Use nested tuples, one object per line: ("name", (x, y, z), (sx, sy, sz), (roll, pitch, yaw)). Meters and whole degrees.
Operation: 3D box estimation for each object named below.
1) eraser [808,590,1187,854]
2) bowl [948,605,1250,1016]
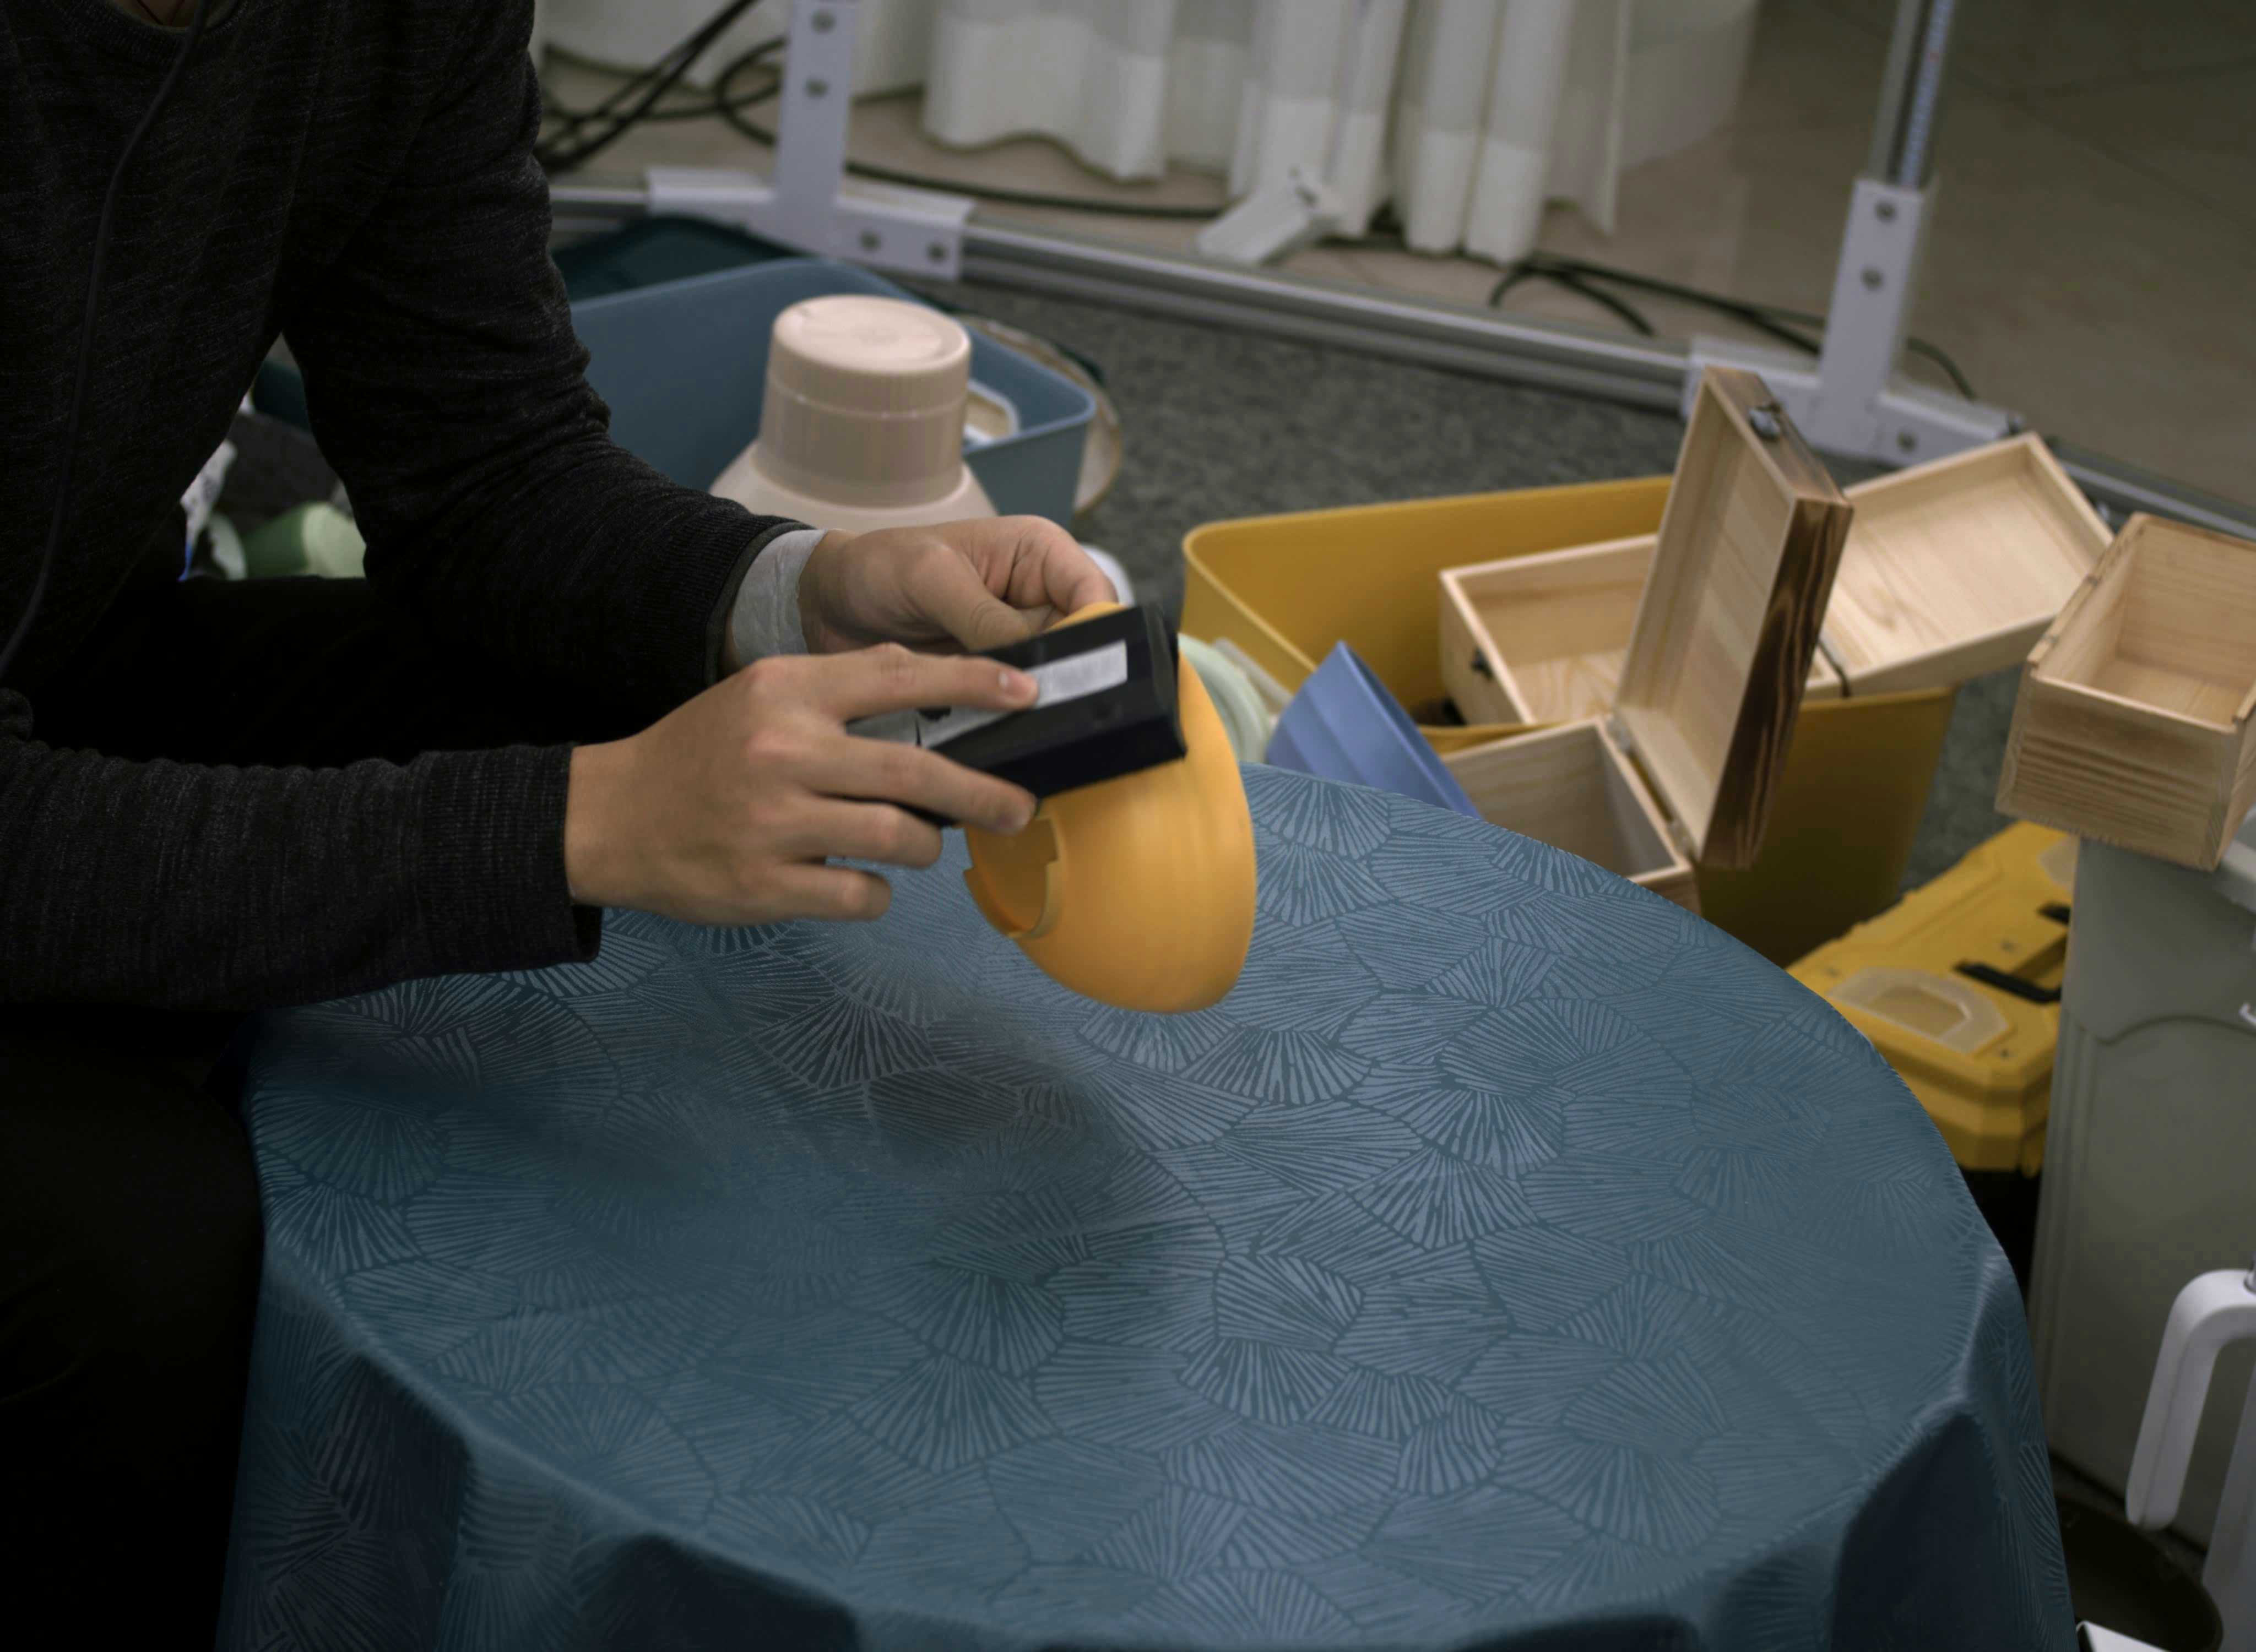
("eraser", (-0.043, -0.035, 1.757), (0.125, 0.030, 0.054), (-19, 46, 10))
("bowl", (-0.021, 0.001, 1.806), (0.060, 0.145, 0.146), (-14, 33, -29))
